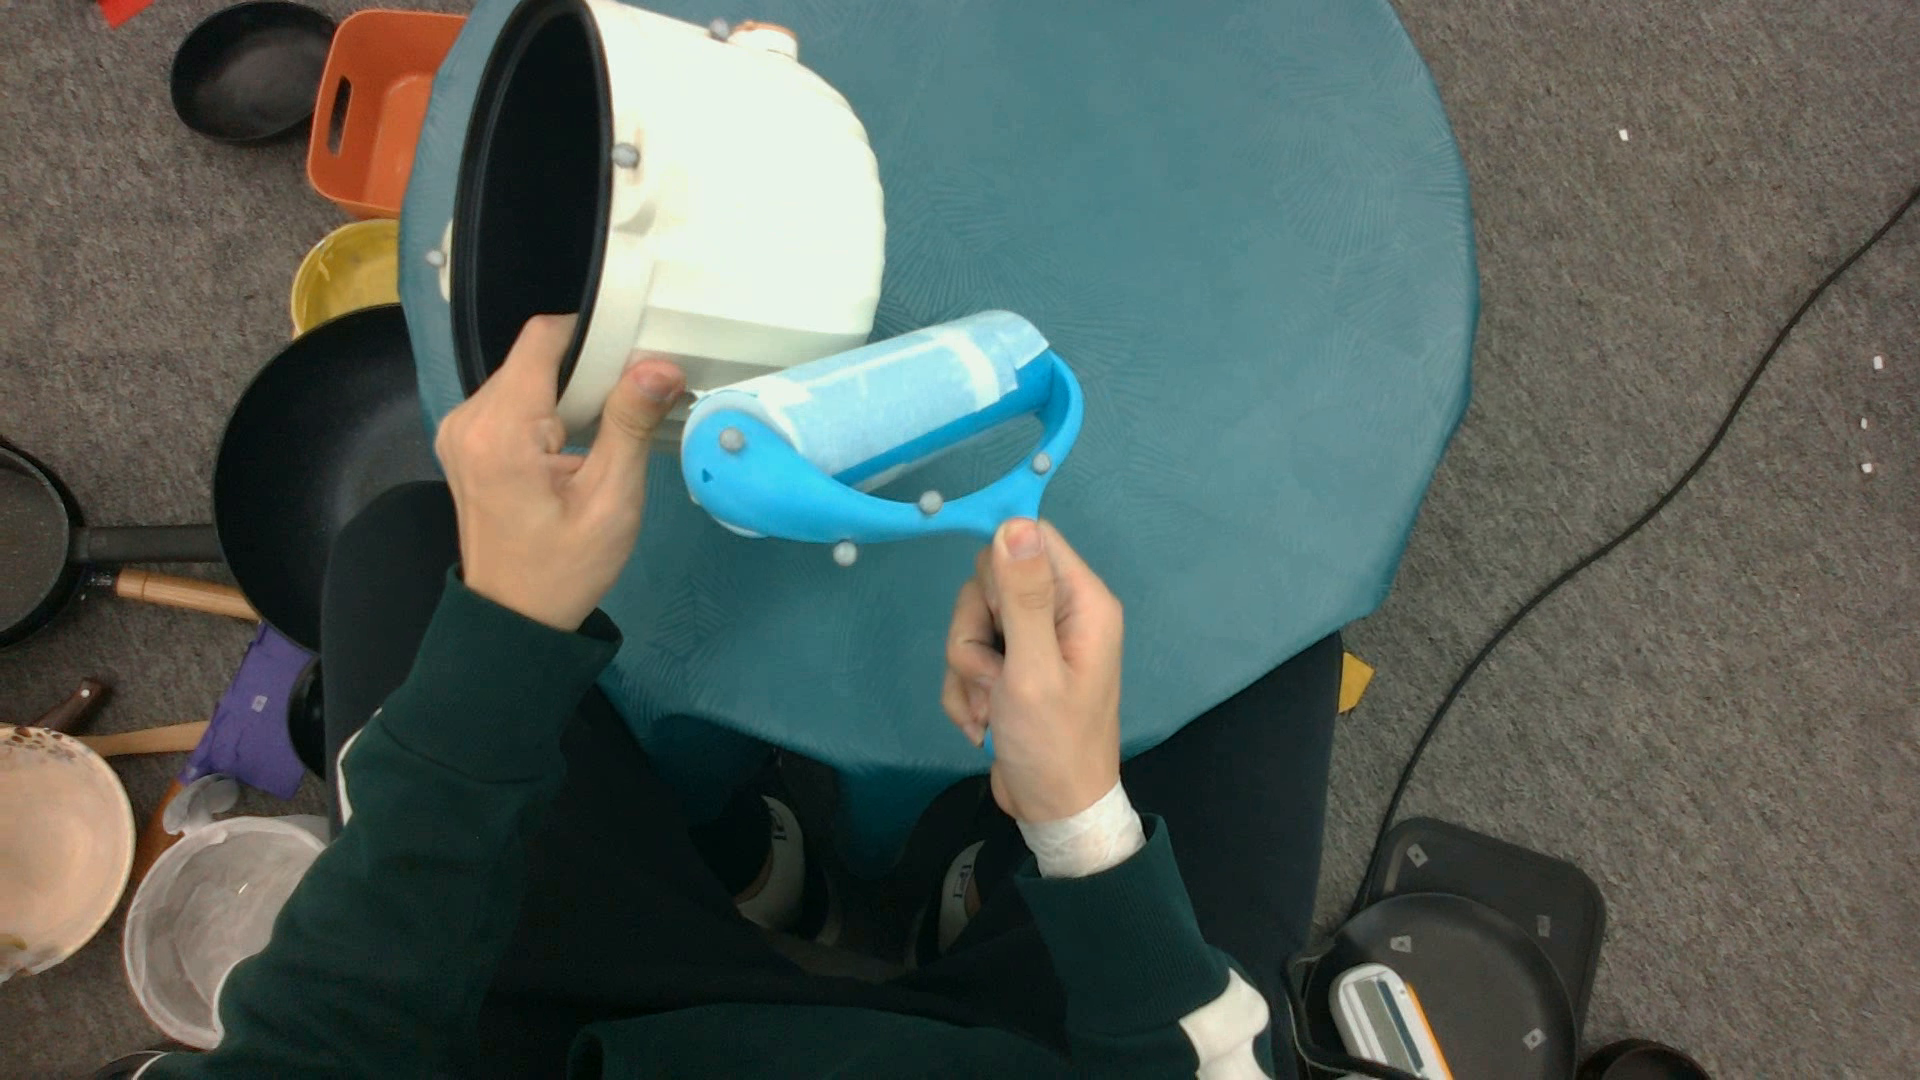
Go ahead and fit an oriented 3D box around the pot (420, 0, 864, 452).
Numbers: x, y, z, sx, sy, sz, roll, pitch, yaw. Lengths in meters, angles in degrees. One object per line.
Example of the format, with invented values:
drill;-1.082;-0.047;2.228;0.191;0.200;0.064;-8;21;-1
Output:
pot;-0.133;-0.133;0.594;0.143;0.239;0.190;-1;89;-39

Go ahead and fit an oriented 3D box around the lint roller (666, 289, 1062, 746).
lint roller;-0.007;-0.006;0.554;0.067;0.230;0.180;-25;97;32
